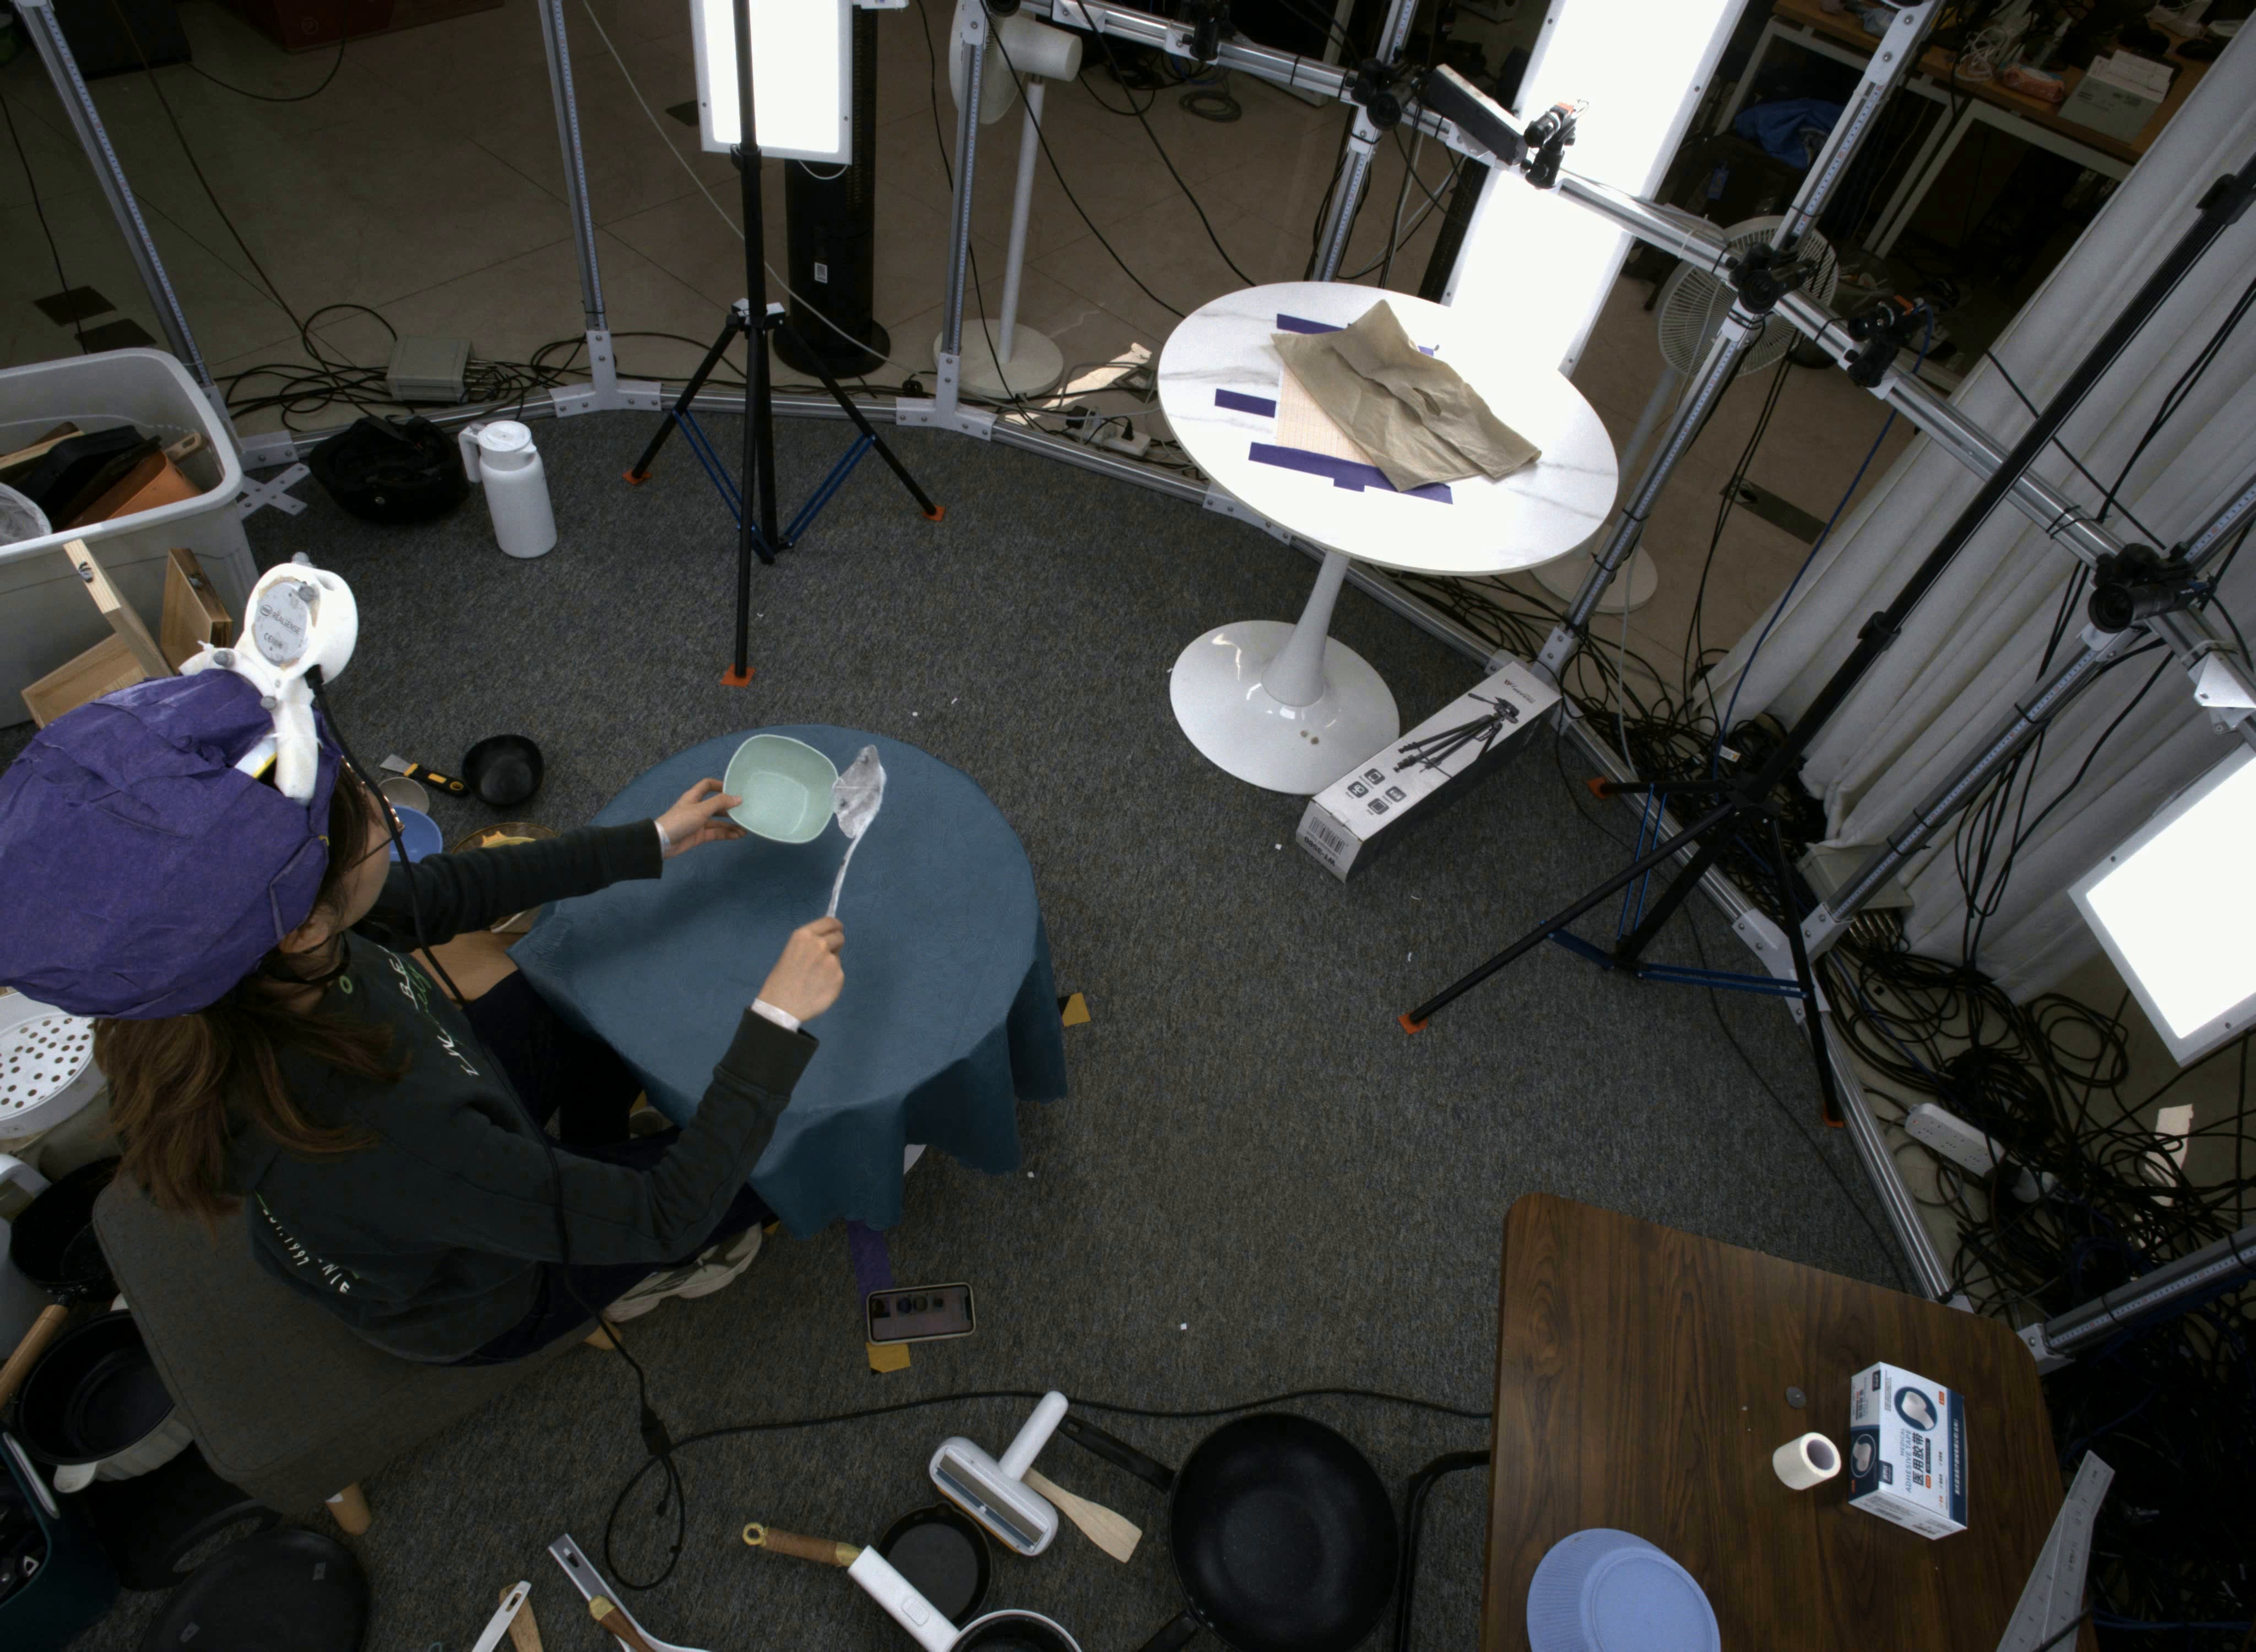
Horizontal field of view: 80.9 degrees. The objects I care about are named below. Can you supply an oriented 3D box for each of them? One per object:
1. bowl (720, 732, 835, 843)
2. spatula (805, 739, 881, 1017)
[{"bbox_3d":[-0.445,-0.039,1.628,0.154,0.058,0.150,14,62,-25],"label":"bowl"},{"bbox_3d":[-0.317,0.049,1.401,0.046,0.098,0.357,35,36,-26],"label":"spatula"}]
